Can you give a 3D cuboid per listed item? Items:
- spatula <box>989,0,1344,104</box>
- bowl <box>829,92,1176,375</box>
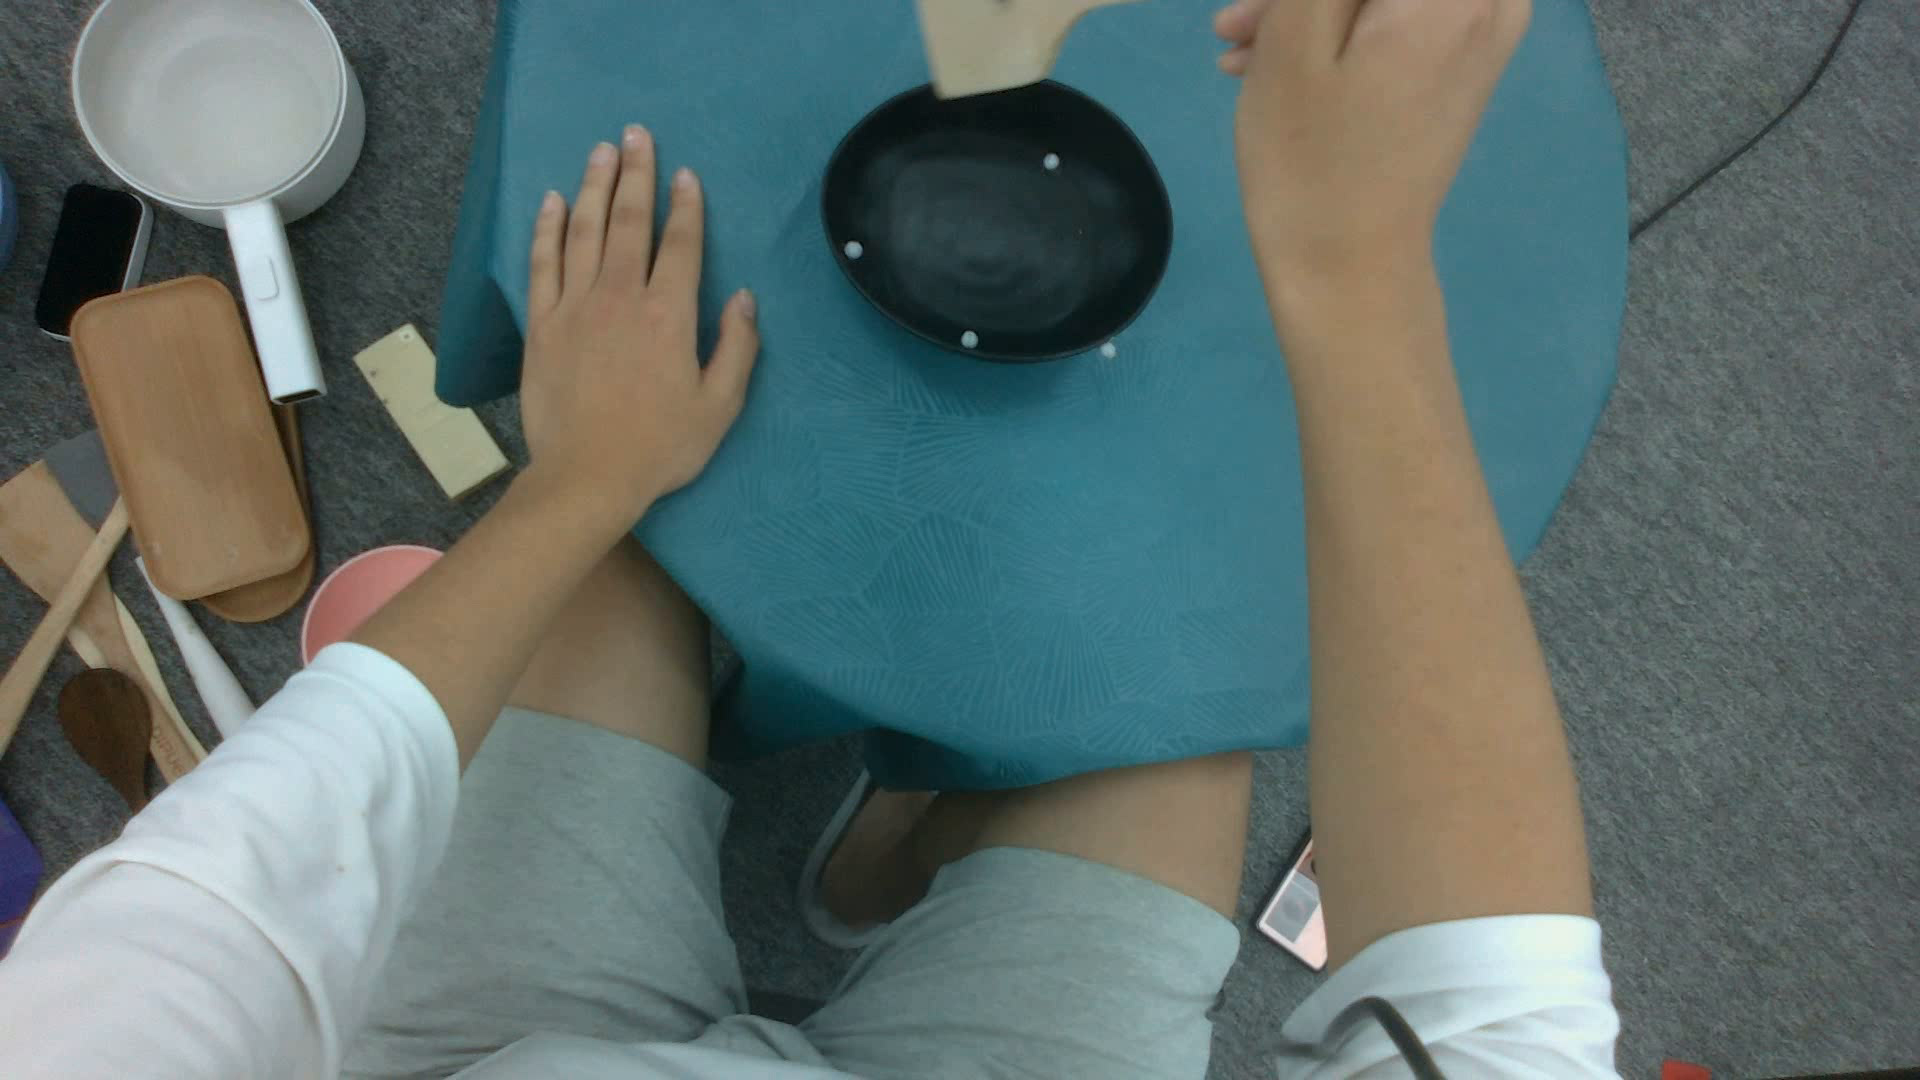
[{"bbox_3d":[0.078,-0.201,0.495,0.011,0.293,0.072,-13,109,-22],"label":"spatula"},{"bbox_3d":[0.019,-0.146,0.688,0.170,0.066,0.137,5,85,-6],"label":"bowl"}]
